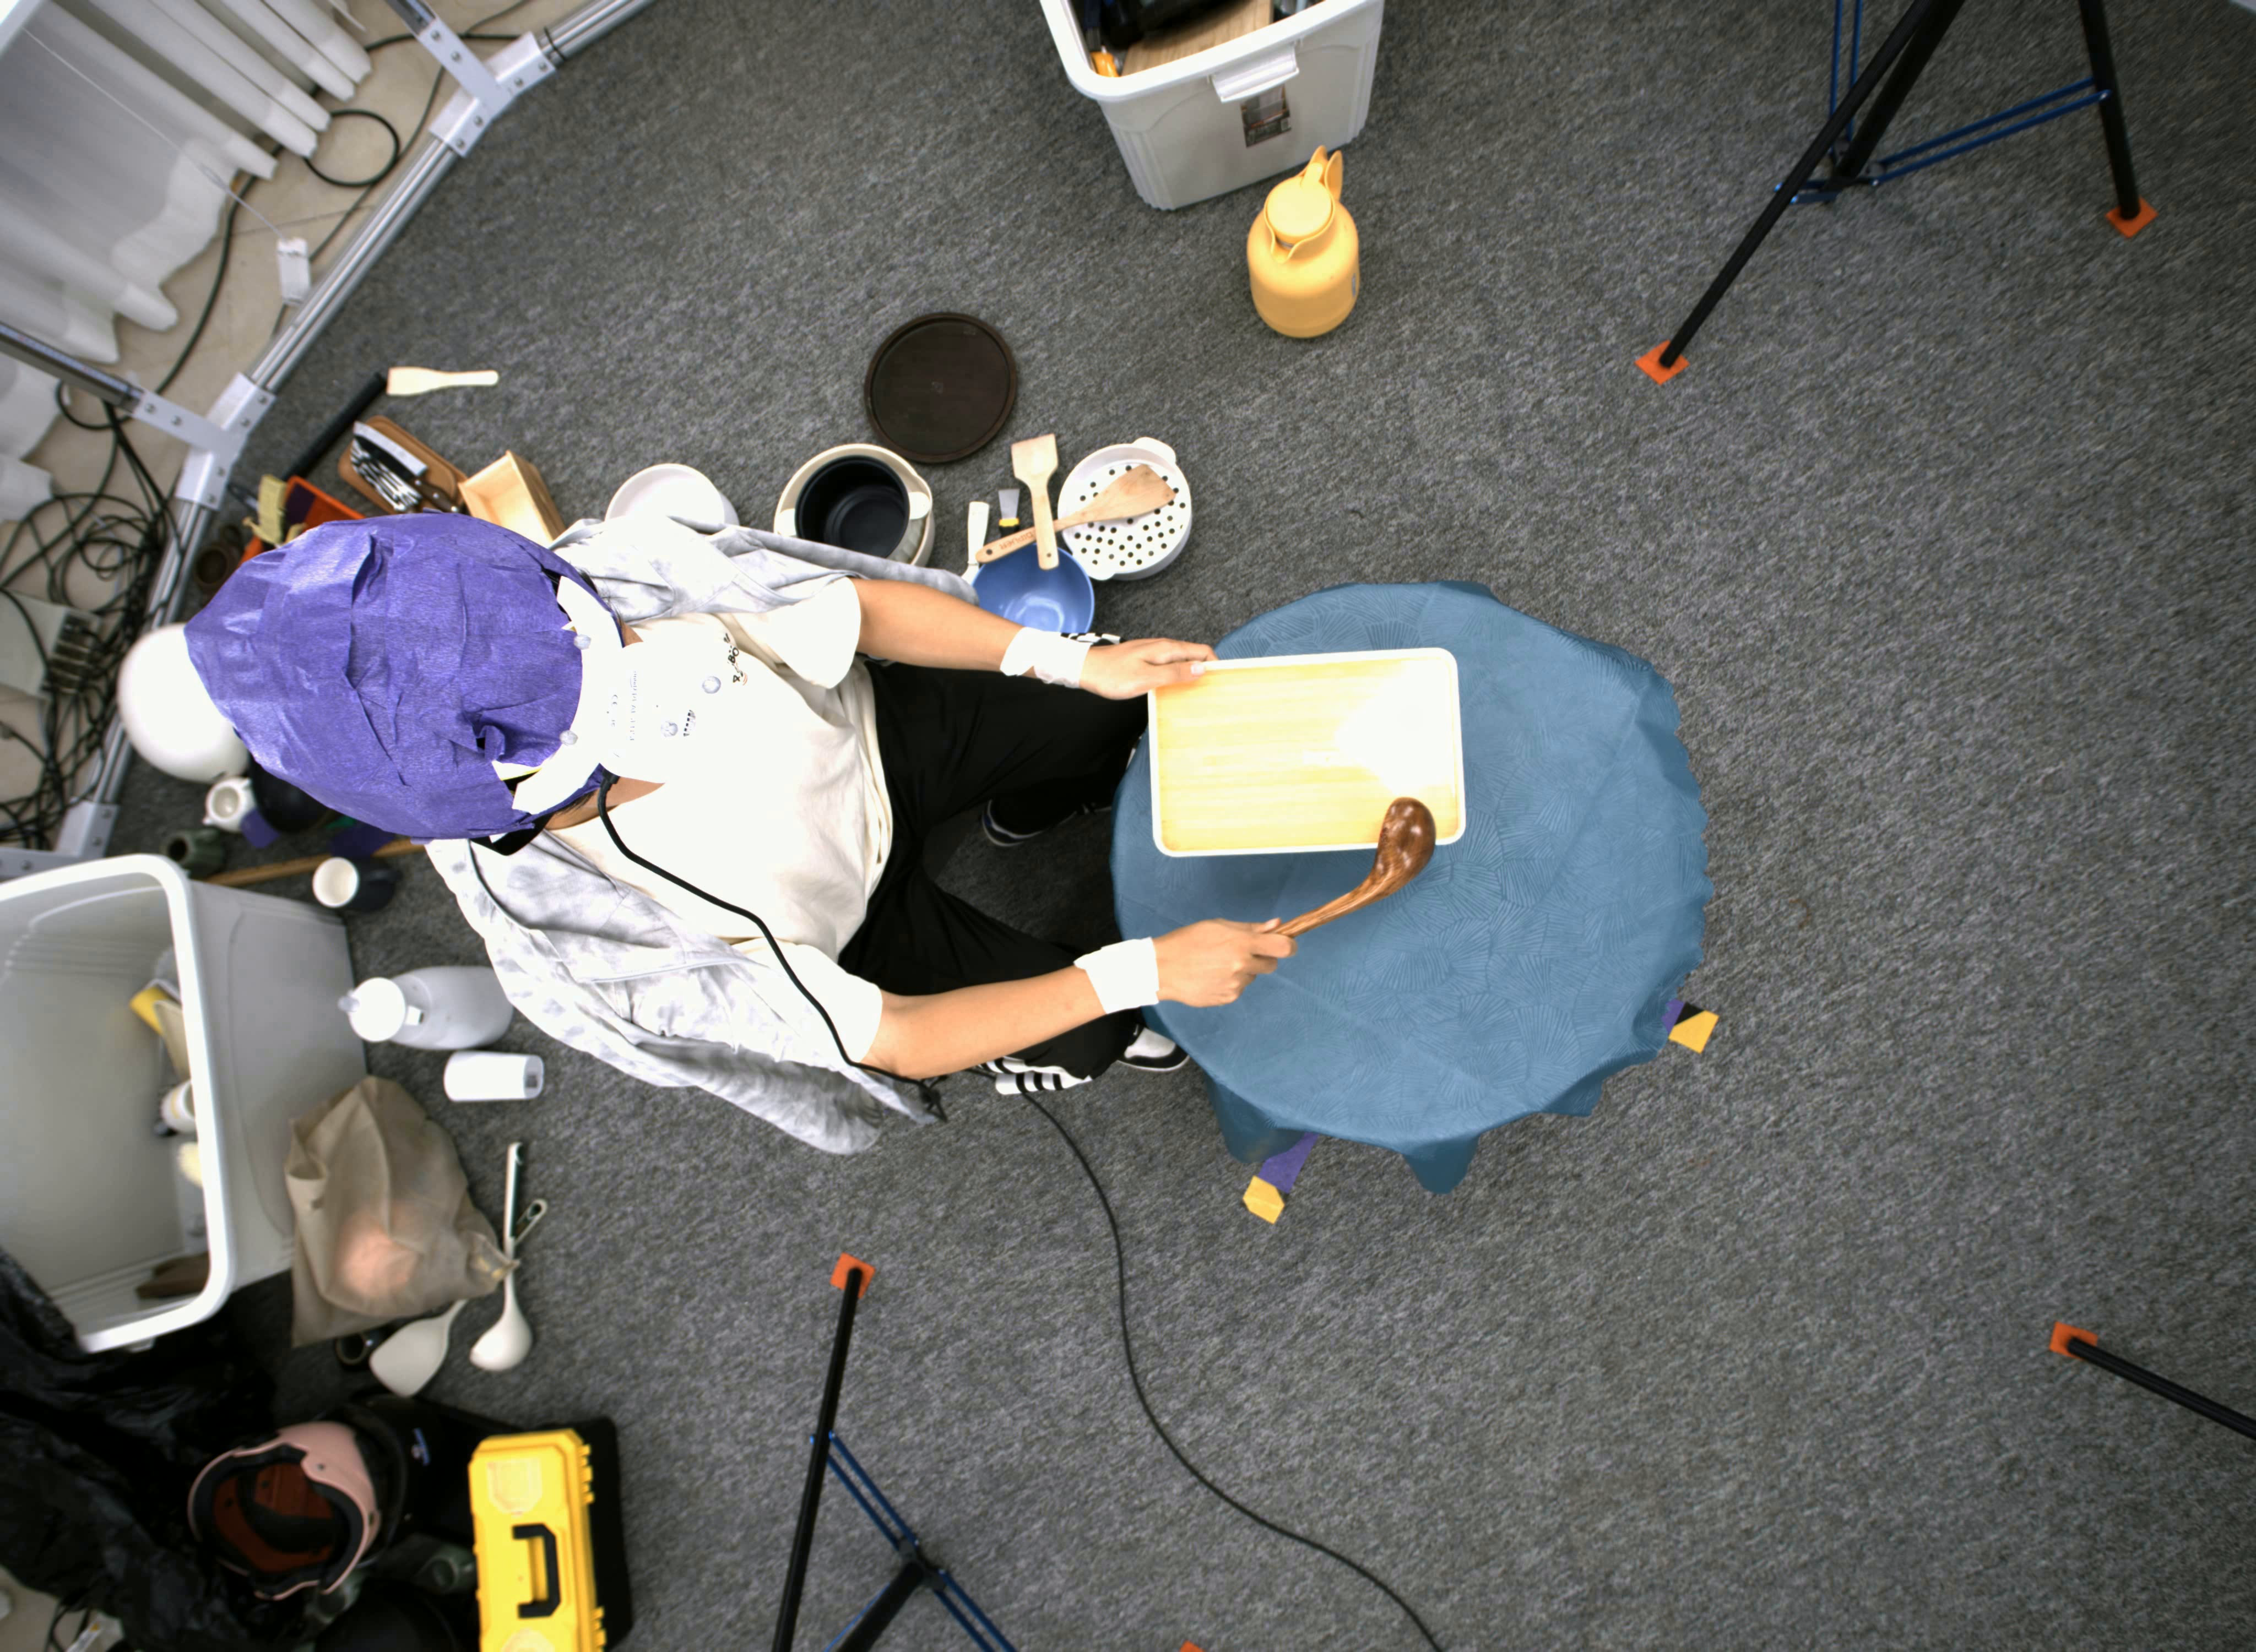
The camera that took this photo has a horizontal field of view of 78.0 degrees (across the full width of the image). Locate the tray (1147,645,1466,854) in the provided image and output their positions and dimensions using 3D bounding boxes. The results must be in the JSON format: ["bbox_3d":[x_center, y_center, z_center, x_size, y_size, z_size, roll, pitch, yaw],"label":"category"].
[{"bbox_3d":[0.172,-0.074,1.344,0.301,0.027,0.191,-3,89,8],"label":"tray"}]

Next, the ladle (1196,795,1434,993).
[{"bbox_3d":[0.168,0.063,1.304,0.278,0.082,0.075,-32,52,25],"label":"ladle"}]
